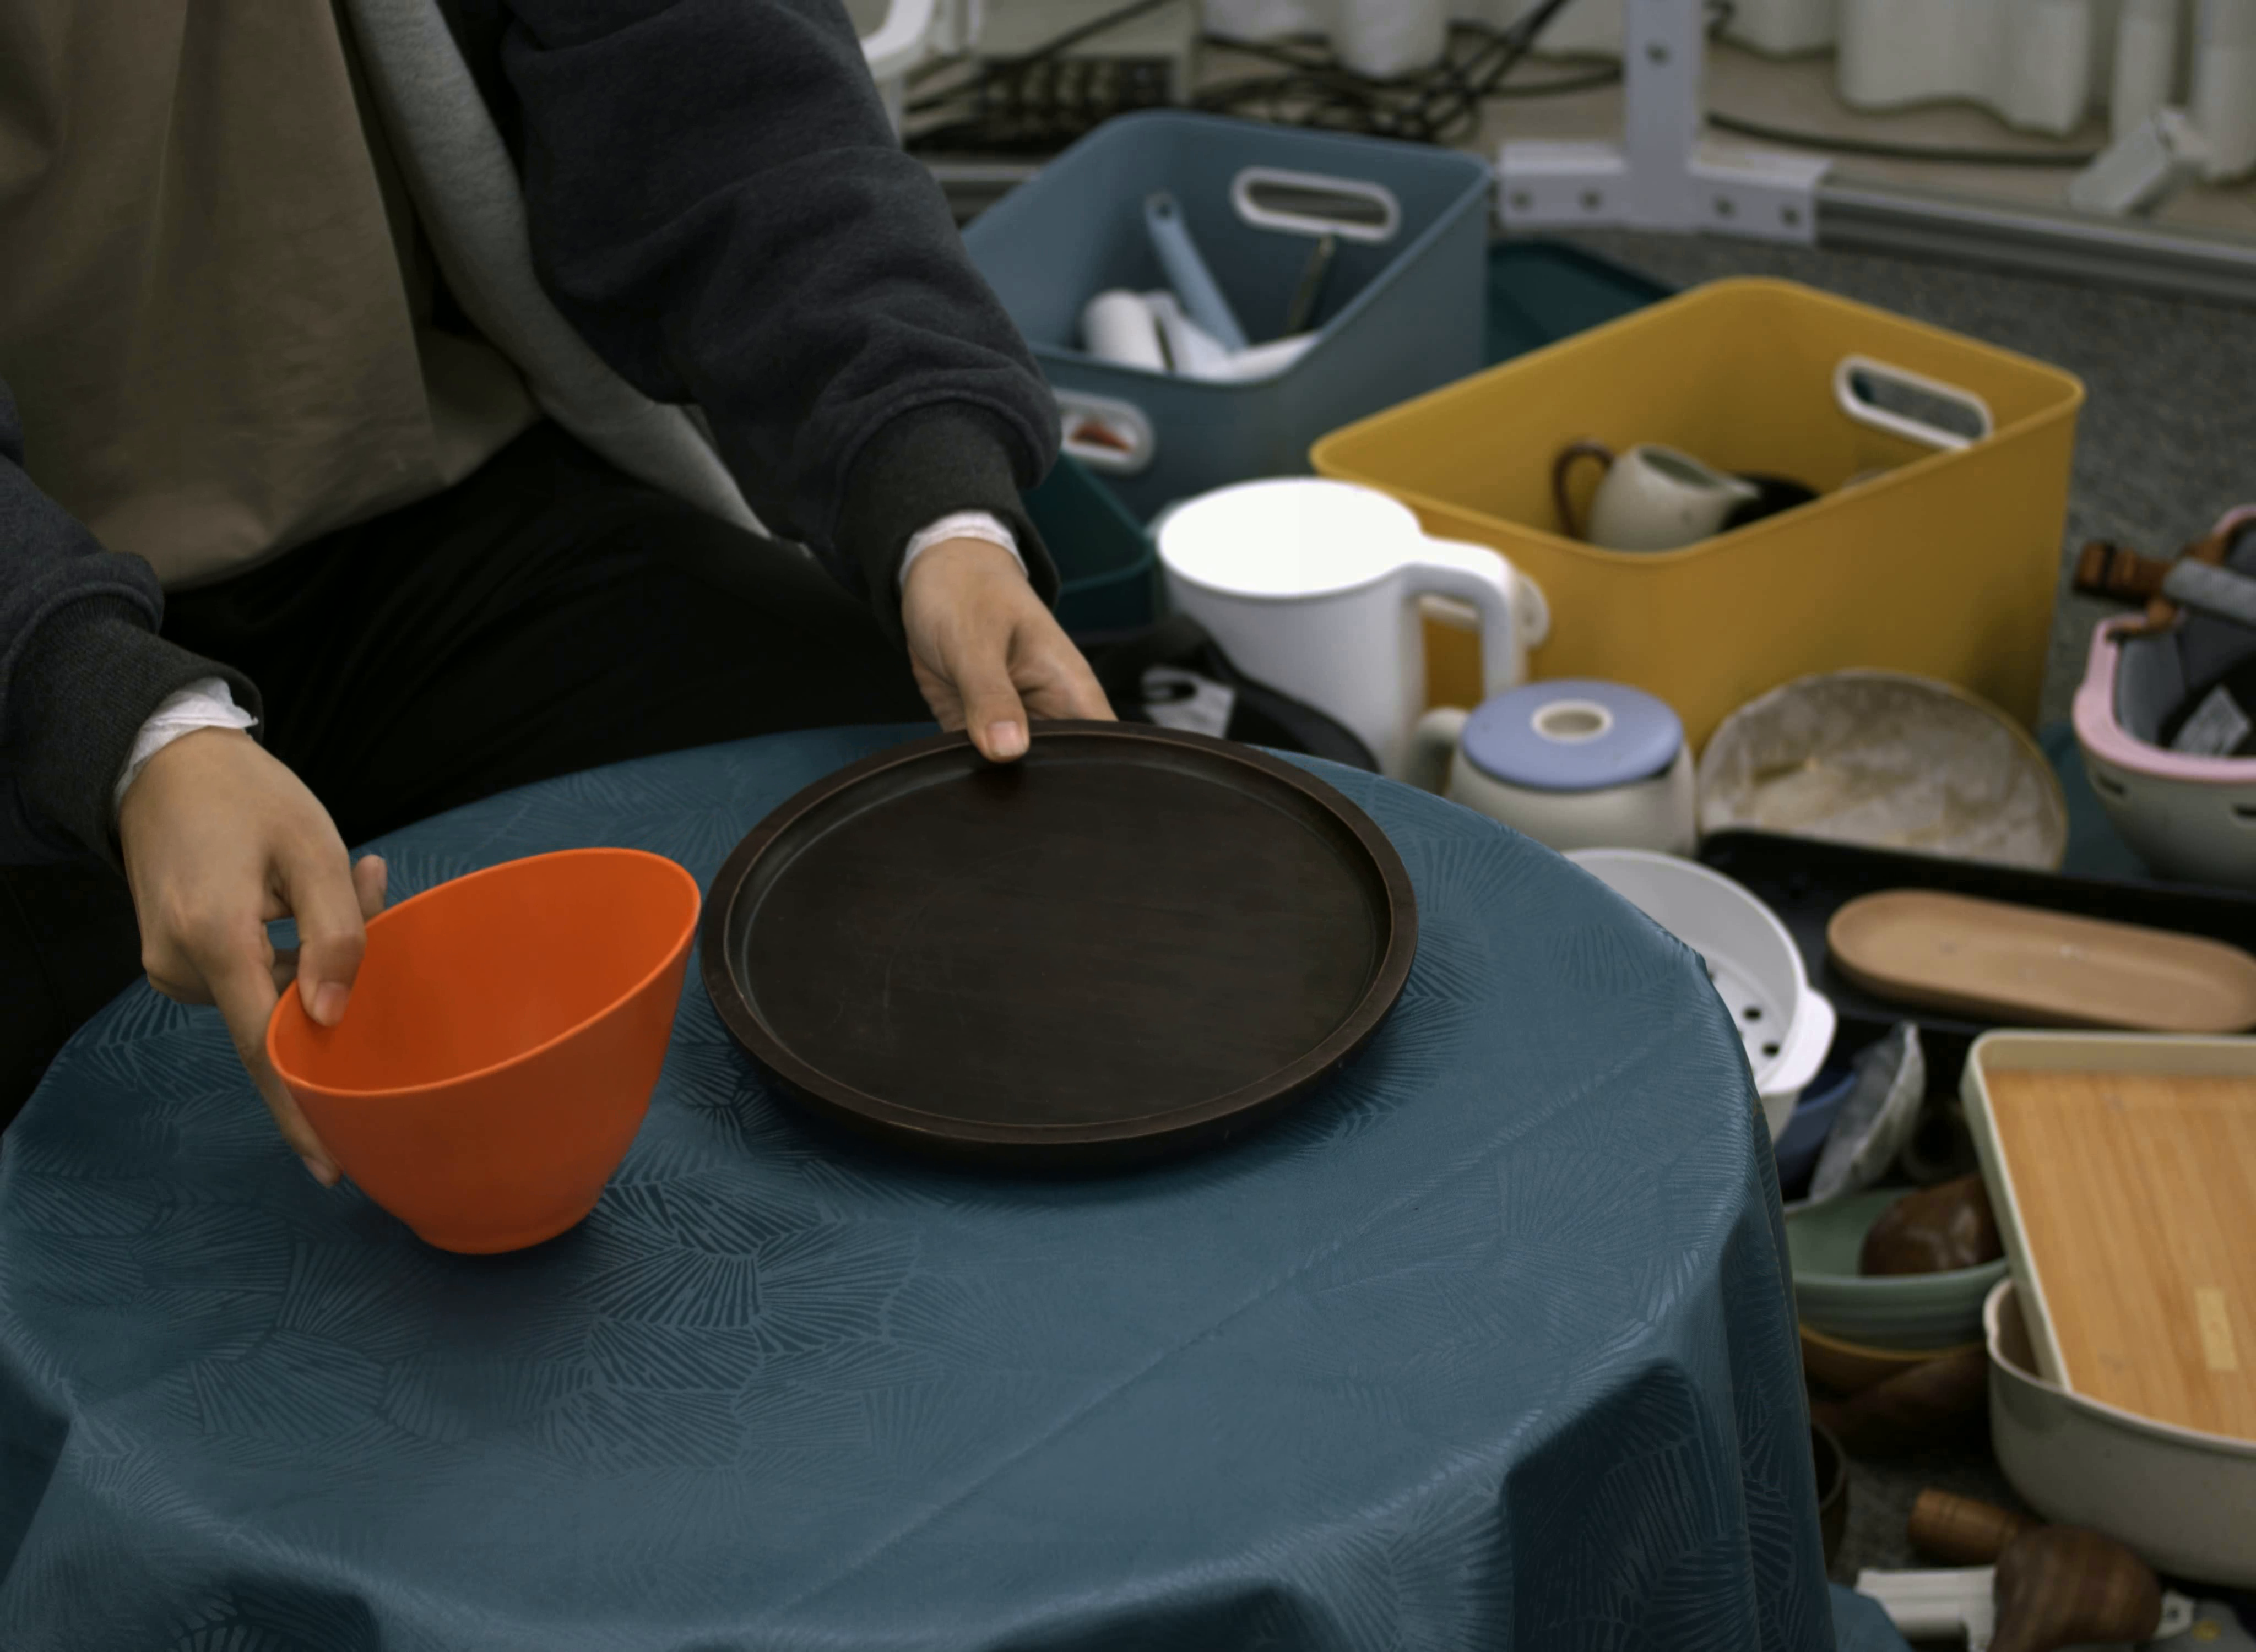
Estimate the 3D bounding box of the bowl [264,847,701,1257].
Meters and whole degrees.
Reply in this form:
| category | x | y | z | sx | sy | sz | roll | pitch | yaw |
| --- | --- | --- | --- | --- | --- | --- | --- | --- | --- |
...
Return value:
| category | x | y | z | sx | sy | sz | roll | pitch | yaw |
| --- | --- | --- | --- | --- | --- | --- | --- | --- | --- |
| bowl | -0.203 | 0.081 | 1.830 | 0.147 | 0.103 | 0.150 | -7 | 30 | 4 |

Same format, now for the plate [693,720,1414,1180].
| category | x | y | z | sx | sy | sz | roll | pitch | yaw |
| --- | --- | --- | --- | --- | --- | --- | --- | --- | --- |
| plate | -0.025 | 0.041 | 1.965 | 0.253 | 0.028 | 0.259 | -2 | 35 | 1 |
